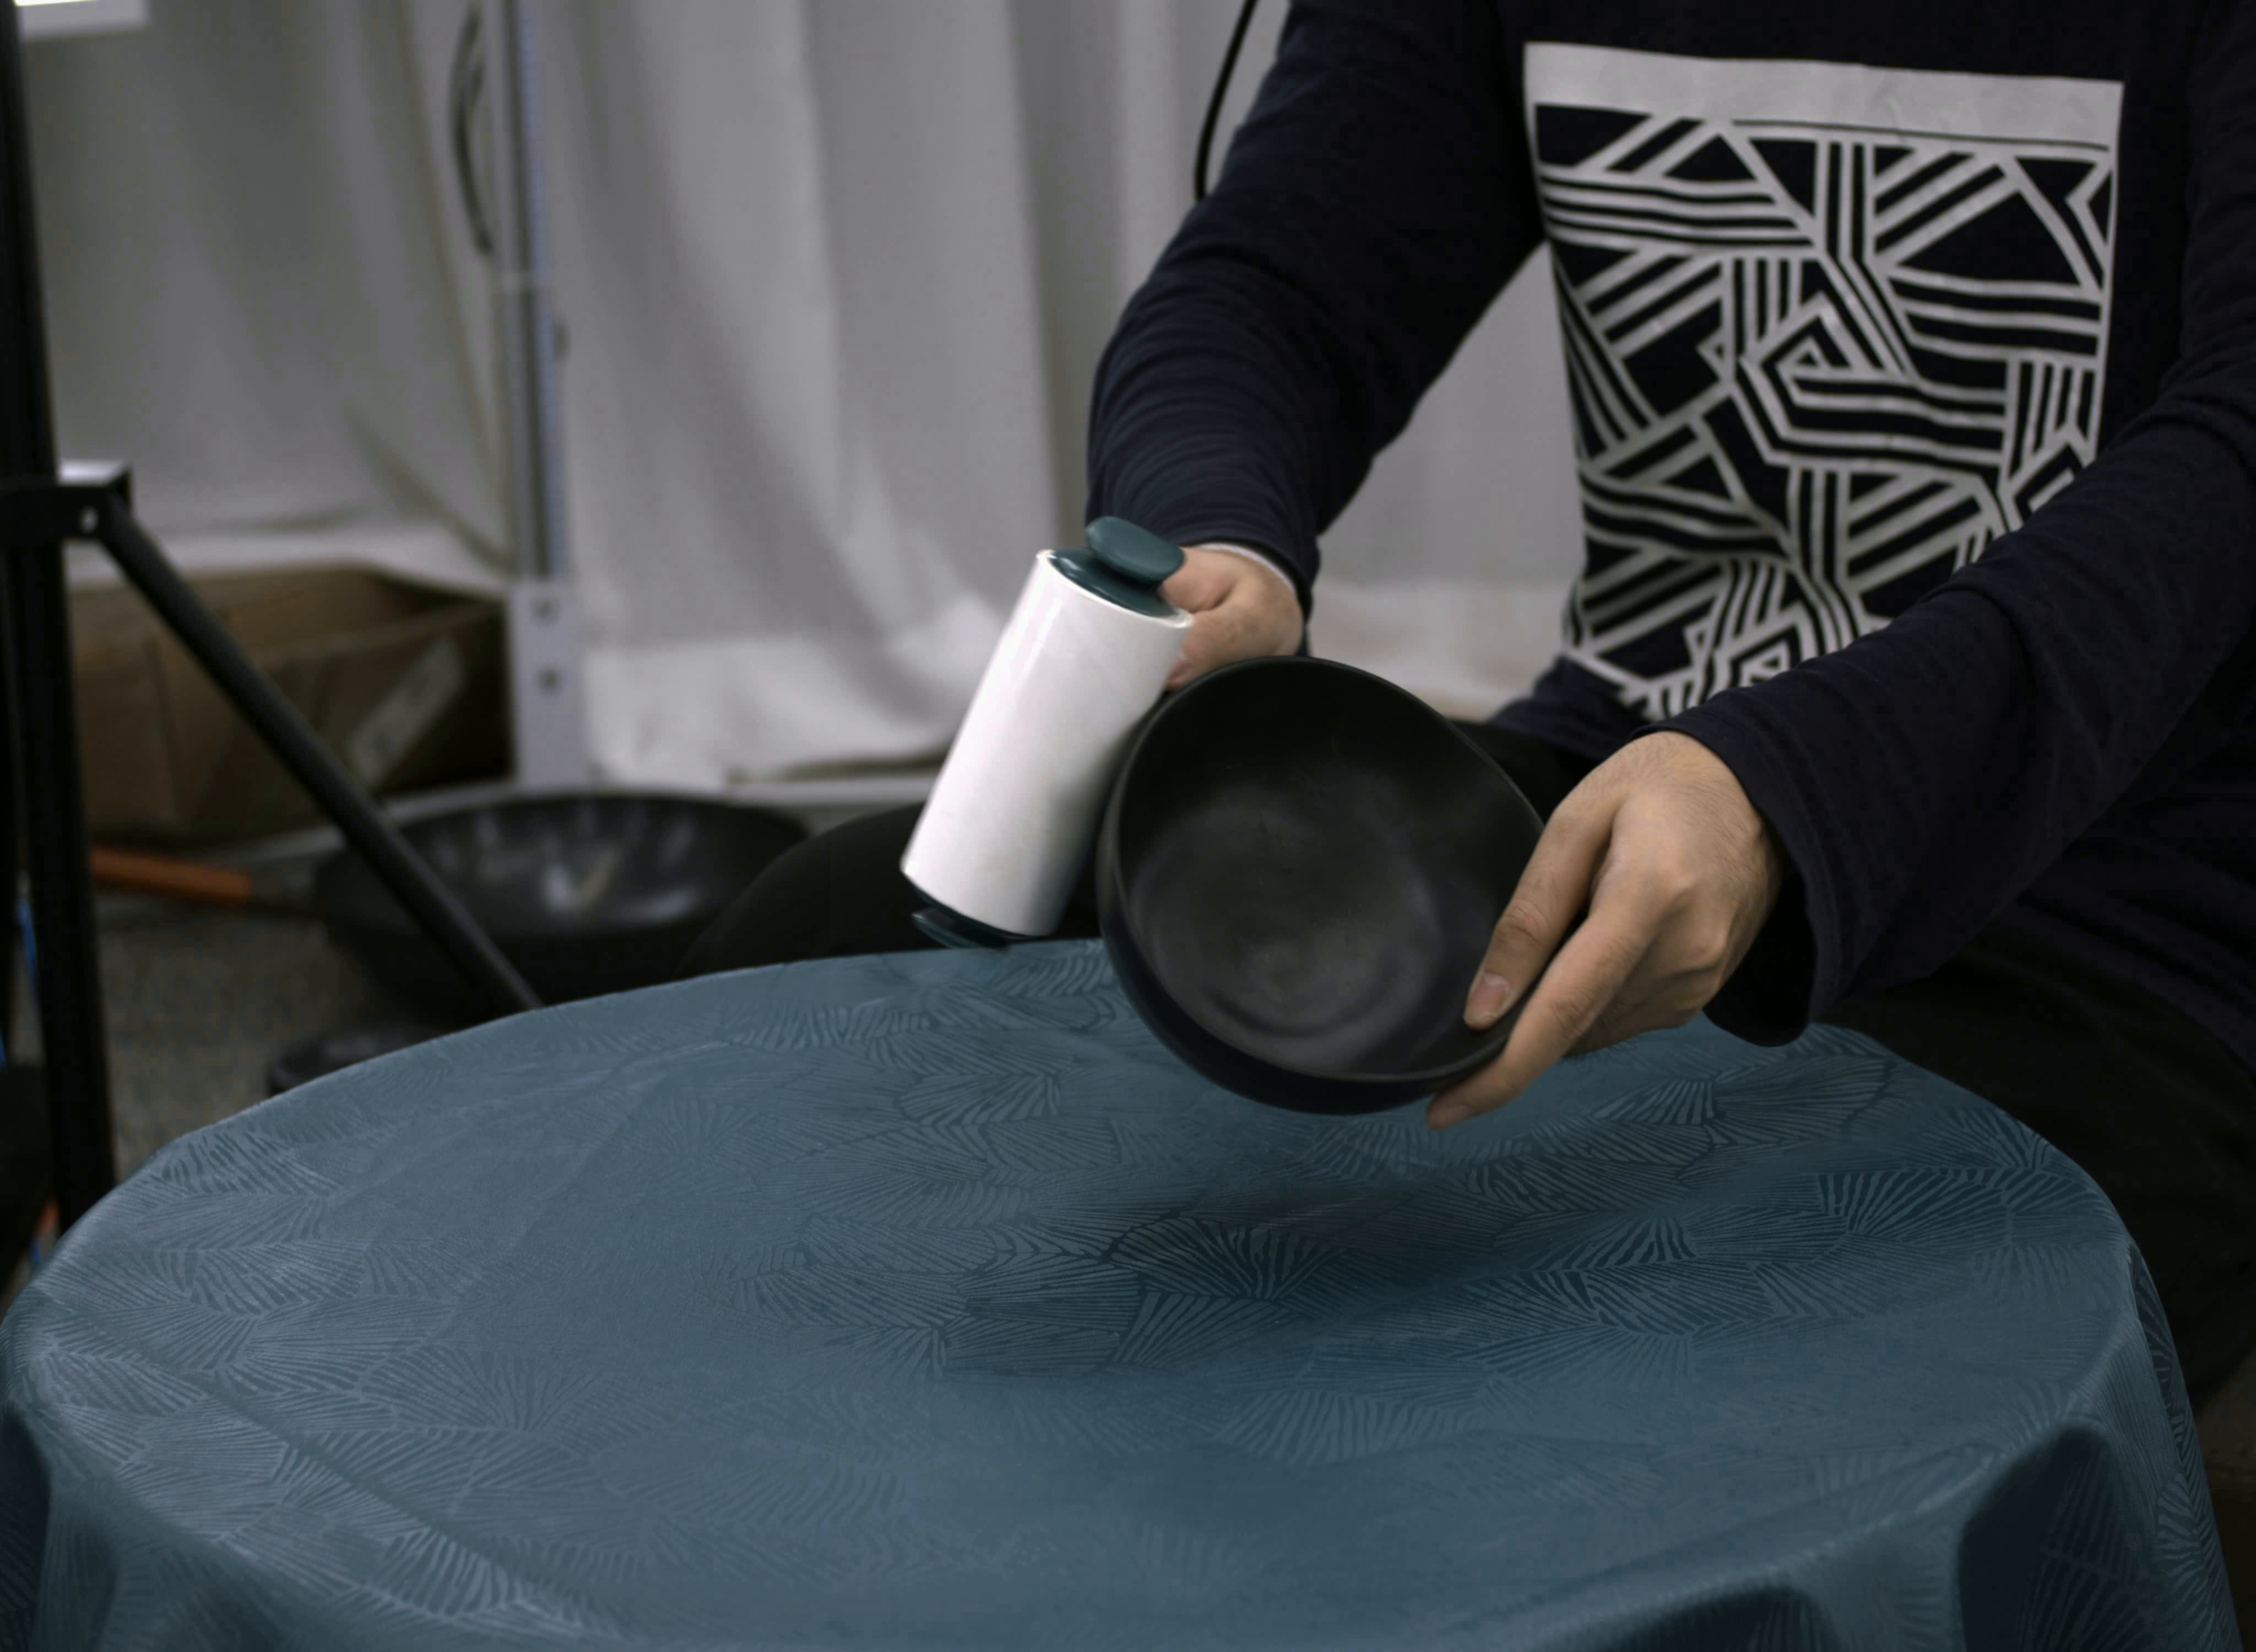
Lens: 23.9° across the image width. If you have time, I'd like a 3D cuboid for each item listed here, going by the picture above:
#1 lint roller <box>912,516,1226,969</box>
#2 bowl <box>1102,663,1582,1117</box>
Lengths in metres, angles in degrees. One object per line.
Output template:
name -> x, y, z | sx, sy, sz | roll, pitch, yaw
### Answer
lint roller -> -0.008, -0.035, 1.563 | 0.048, 0.135, 0.179 | 25, 14, 5
bowl -> 0.051, 0.026, 1.500 | 0.138, 0.067, 0.167 | 47, 44, 9
